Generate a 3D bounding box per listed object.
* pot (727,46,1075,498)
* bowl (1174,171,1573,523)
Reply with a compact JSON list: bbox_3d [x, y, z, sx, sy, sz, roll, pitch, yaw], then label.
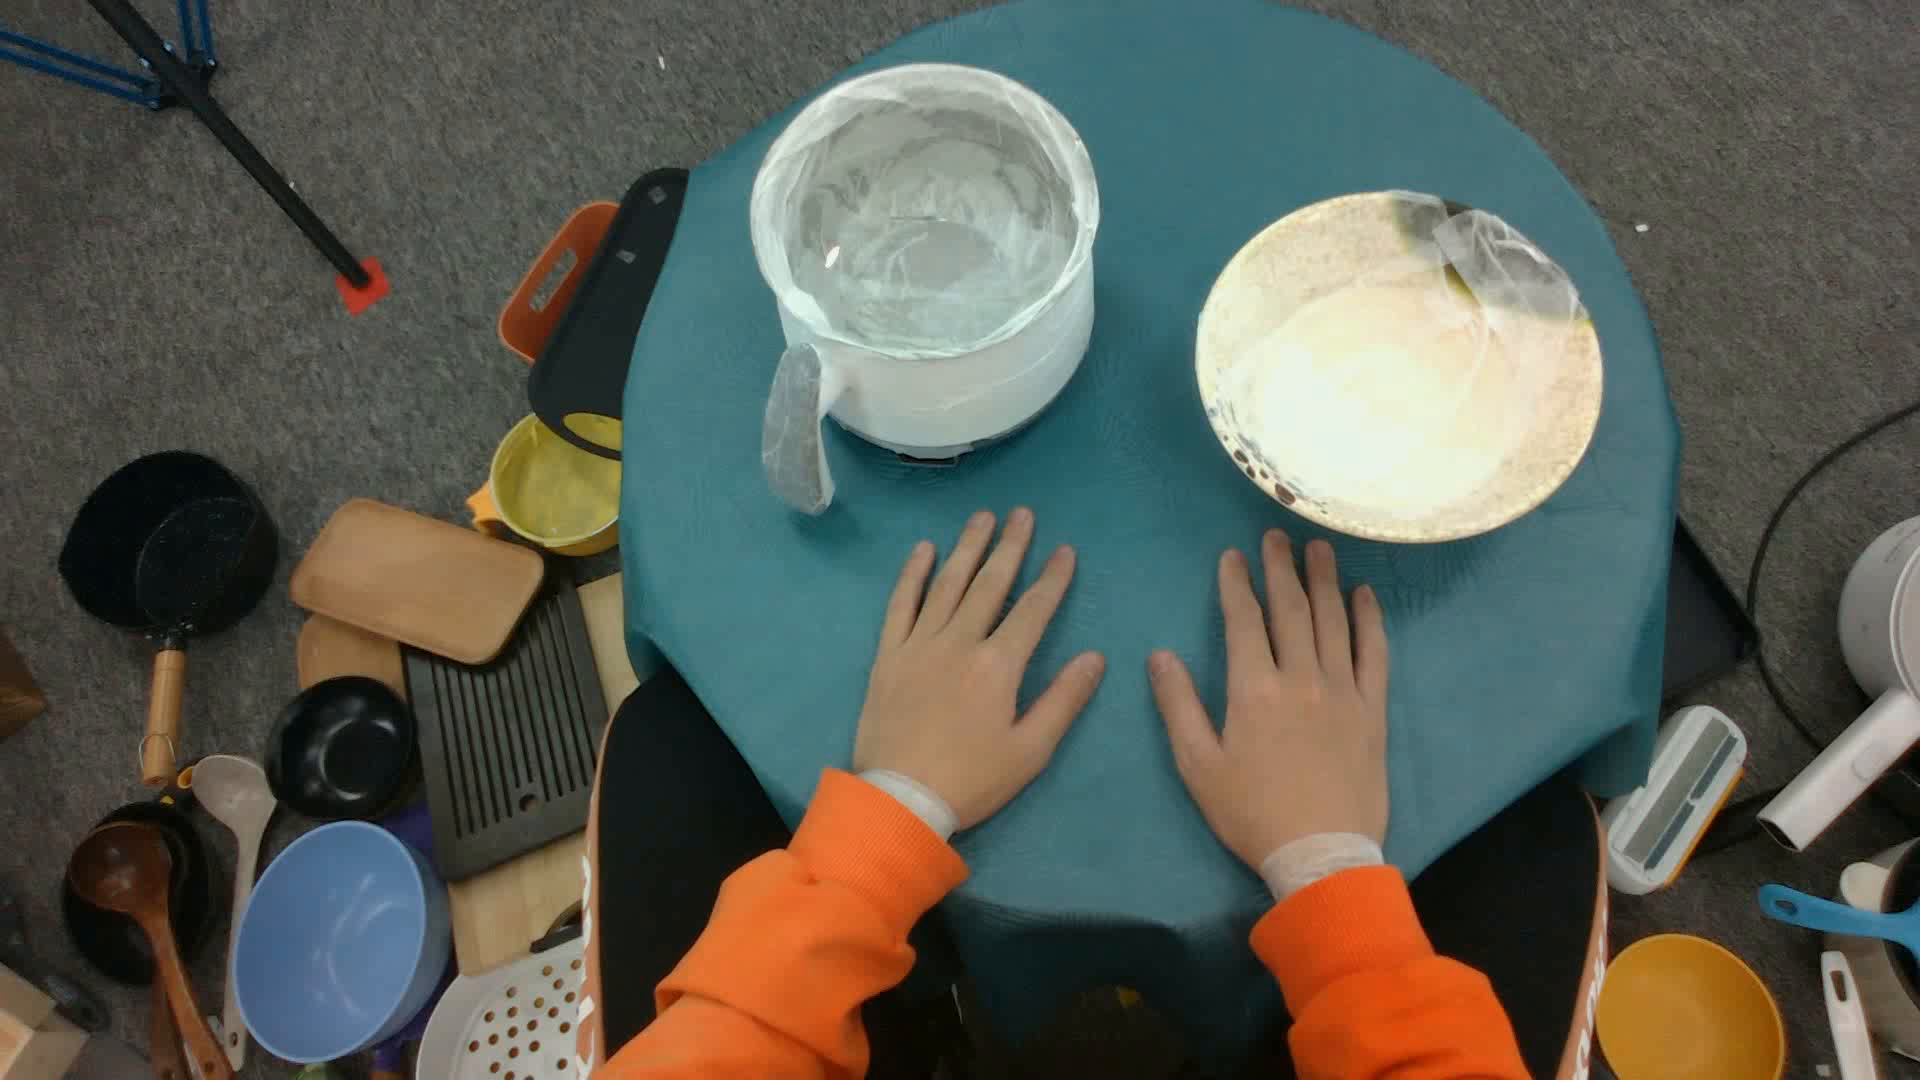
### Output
[{"bbox_3d":[-0.042,-0.133,0.745,0.179,0.136,0.234,30,73,14],"label":"pot"},{"bbox_3d":[0.216,-0.093,0.749,0.204,0.078,0.204,-1,70,3],"label":"bowl"}]
